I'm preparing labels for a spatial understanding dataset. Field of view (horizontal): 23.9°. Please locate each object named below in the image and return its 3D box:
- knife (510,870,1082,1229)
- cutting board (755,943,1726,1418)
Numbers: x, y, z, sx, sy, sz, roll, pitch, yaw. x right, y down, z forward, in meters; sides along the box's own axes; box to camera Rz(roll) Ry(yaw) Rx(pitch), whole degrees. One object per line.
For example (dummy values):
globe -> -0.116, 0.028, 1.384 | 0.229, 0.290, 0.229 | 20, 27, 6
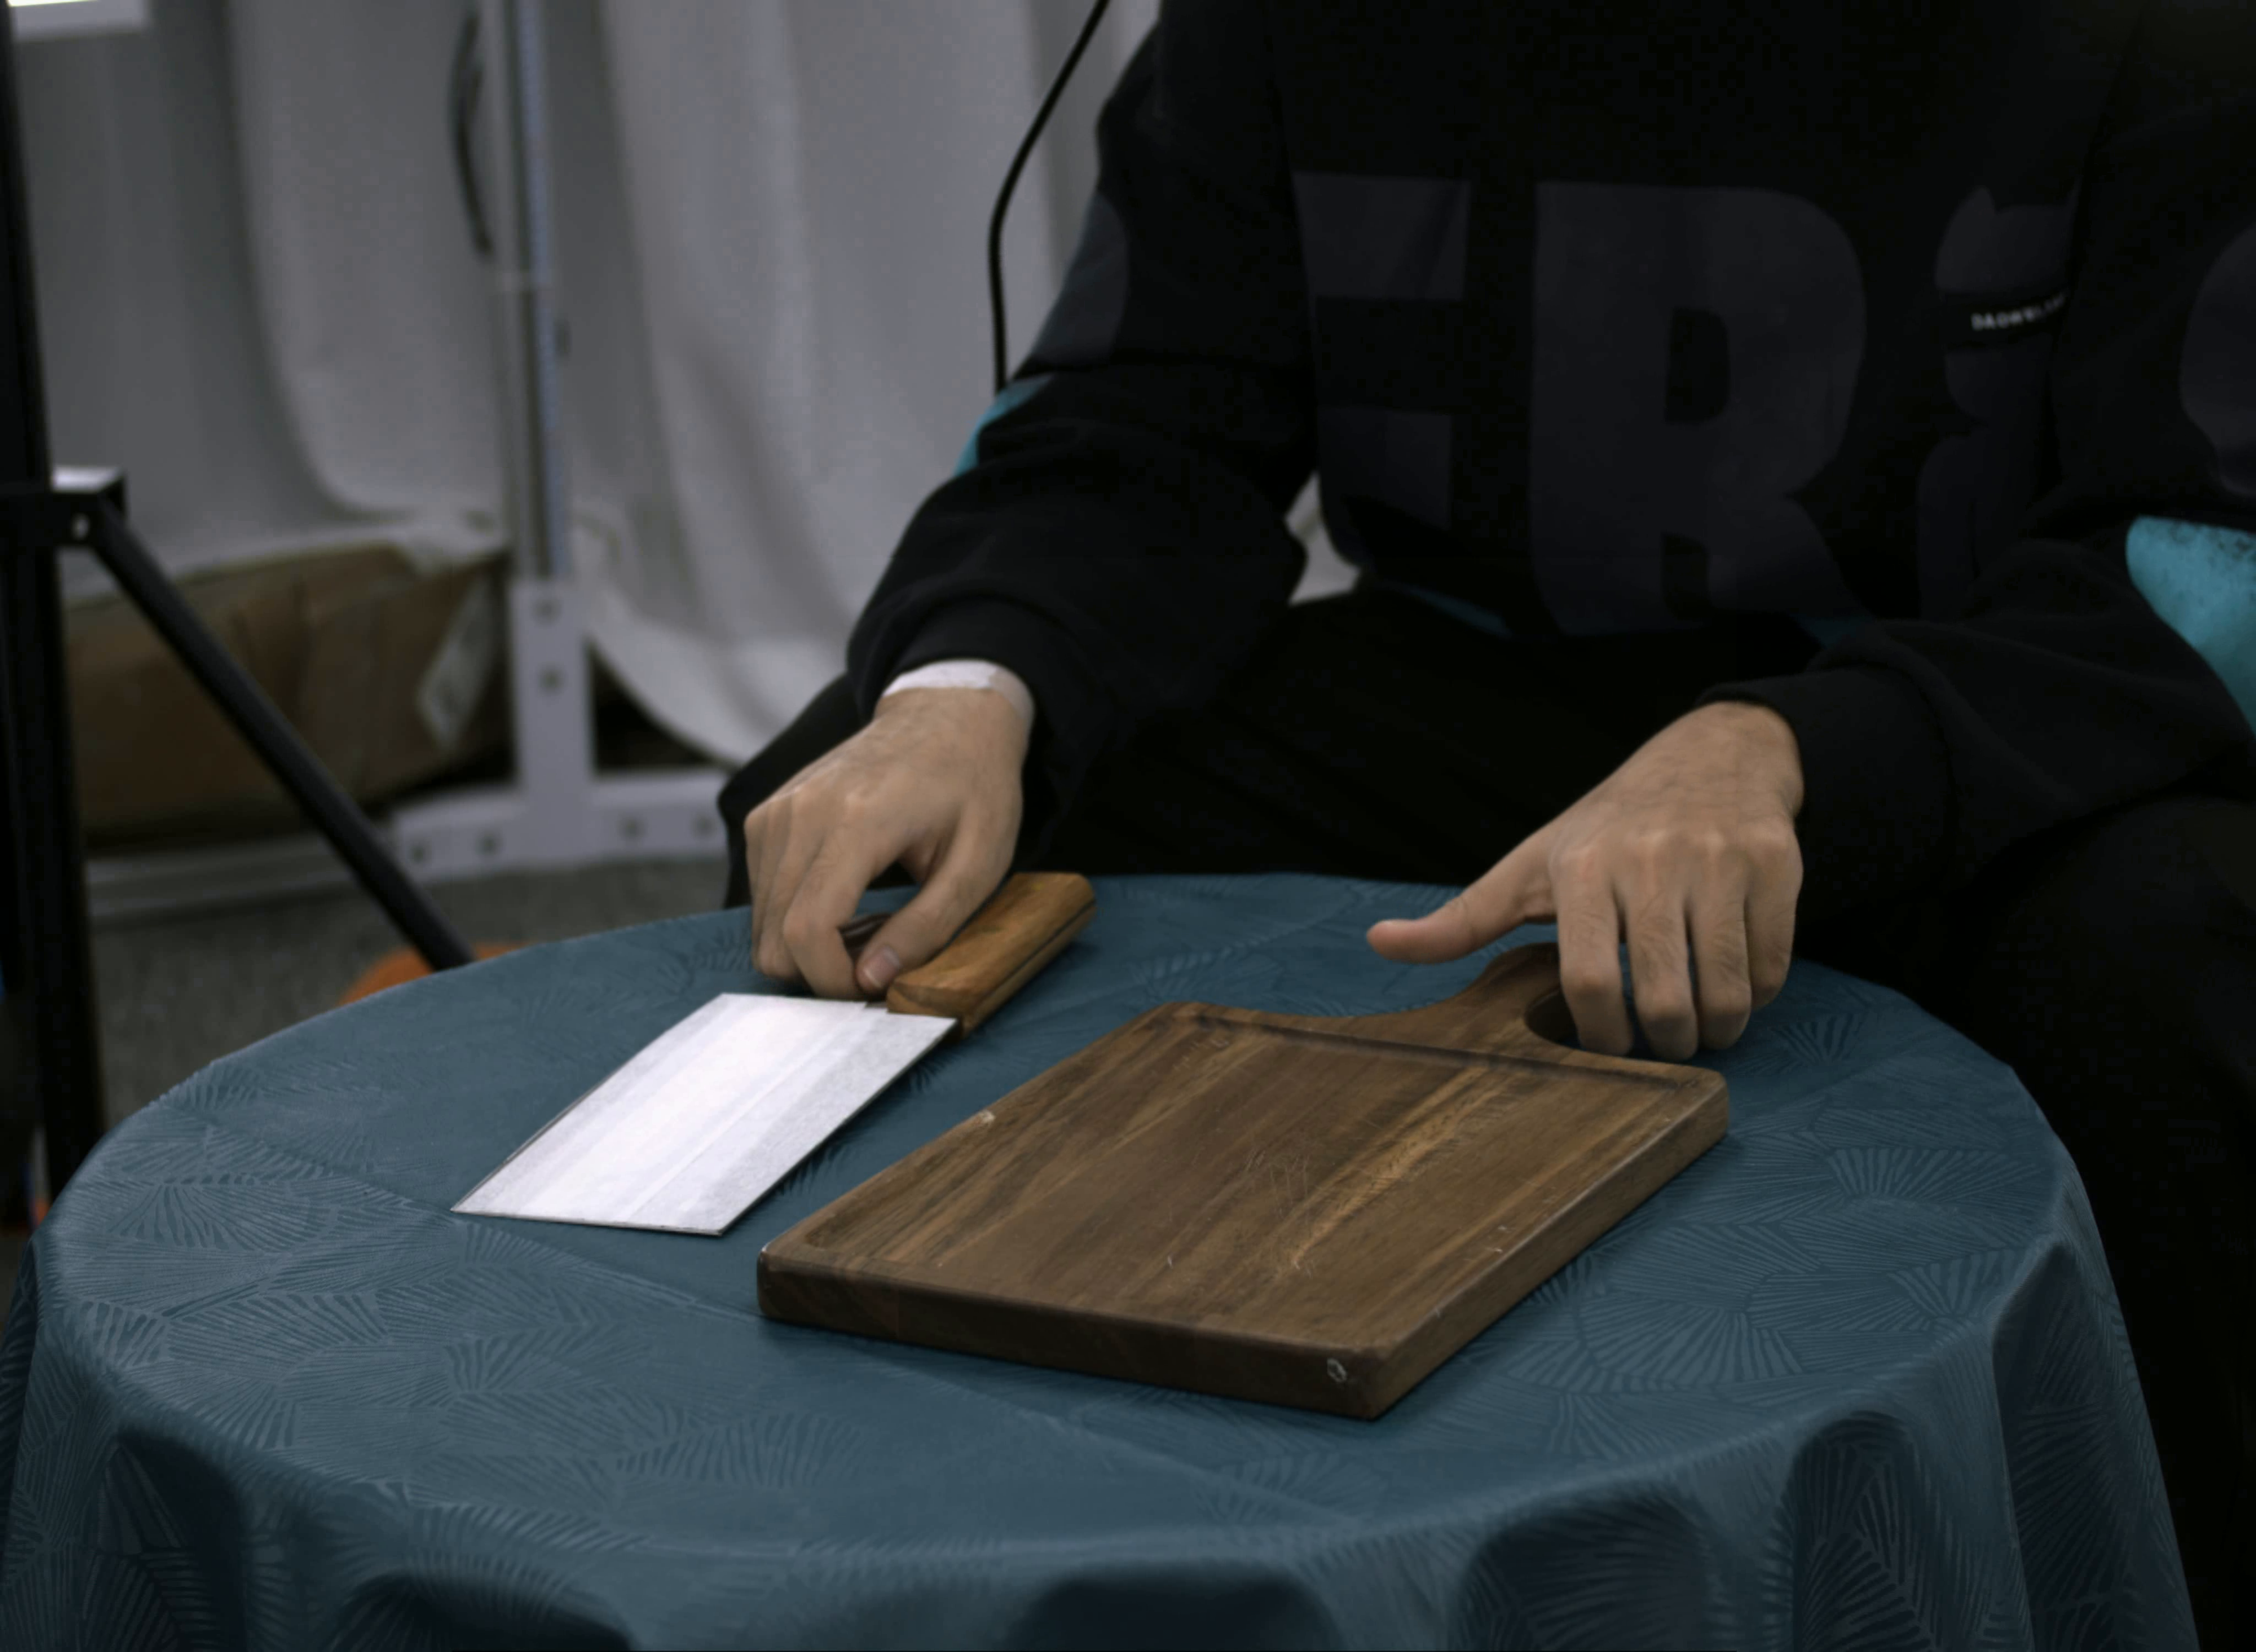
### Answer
knife -> -0.103, 0.069, 1.686 | 0.094, 0.021, 0.302 | 2, 19, 22
cutting board -> 0.061, 0.093, 1.564 | 0.204, 0.023, 0.346 | 6, 18, 28
